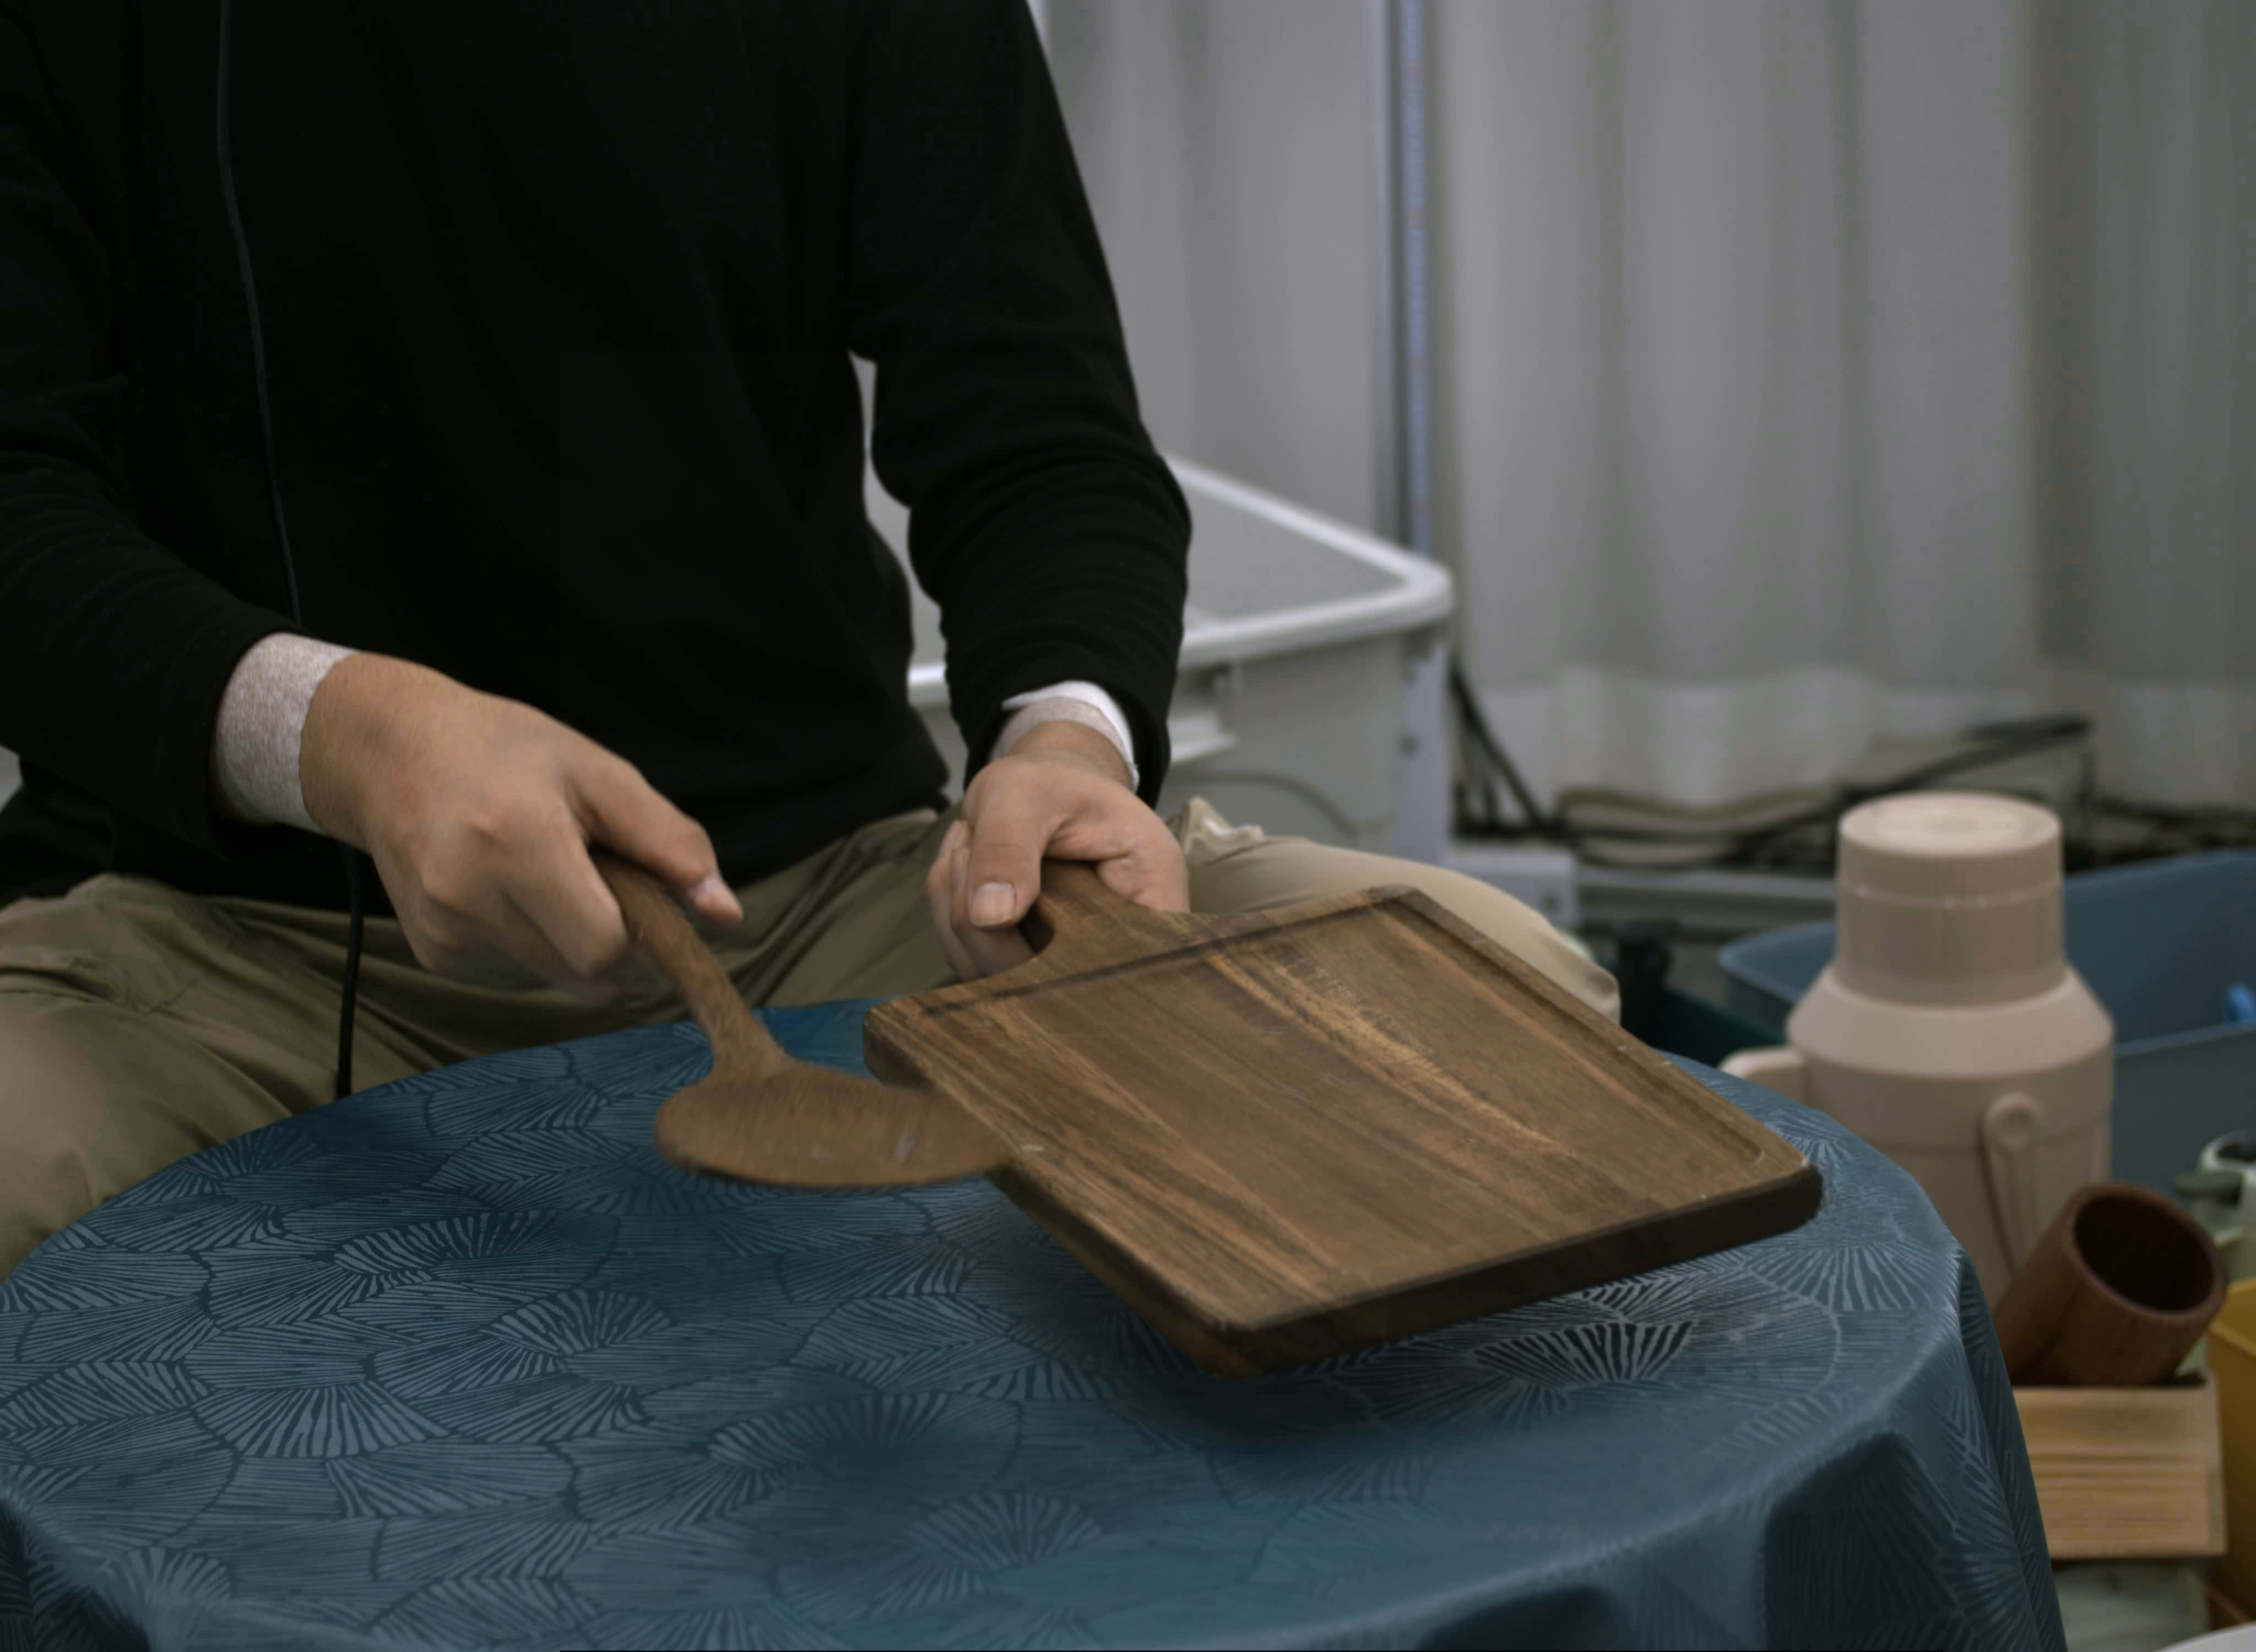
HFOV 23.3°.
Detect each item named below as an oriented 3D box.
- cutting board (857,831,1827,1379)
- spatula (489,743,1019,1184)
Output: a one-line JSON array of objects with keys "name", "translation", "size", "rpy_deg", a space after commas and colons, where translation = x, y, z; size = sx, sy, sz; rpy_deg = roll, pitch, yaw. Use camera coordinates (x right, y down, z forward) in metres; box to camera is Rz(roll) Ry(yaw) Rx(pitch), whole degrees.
[{"name": "cutting board", "translation": [0.036, 0.067, 1.658], "size": [0.200, 0.023, 0.356], "rpy_deg": [-13, 24, -24]}, {"name": "spatula", "translation": [-0.134, 0.034, 1.630], "size": [0.095, 0.016, 0.390], "rpy_deg": [-2, 19, -21]}]
